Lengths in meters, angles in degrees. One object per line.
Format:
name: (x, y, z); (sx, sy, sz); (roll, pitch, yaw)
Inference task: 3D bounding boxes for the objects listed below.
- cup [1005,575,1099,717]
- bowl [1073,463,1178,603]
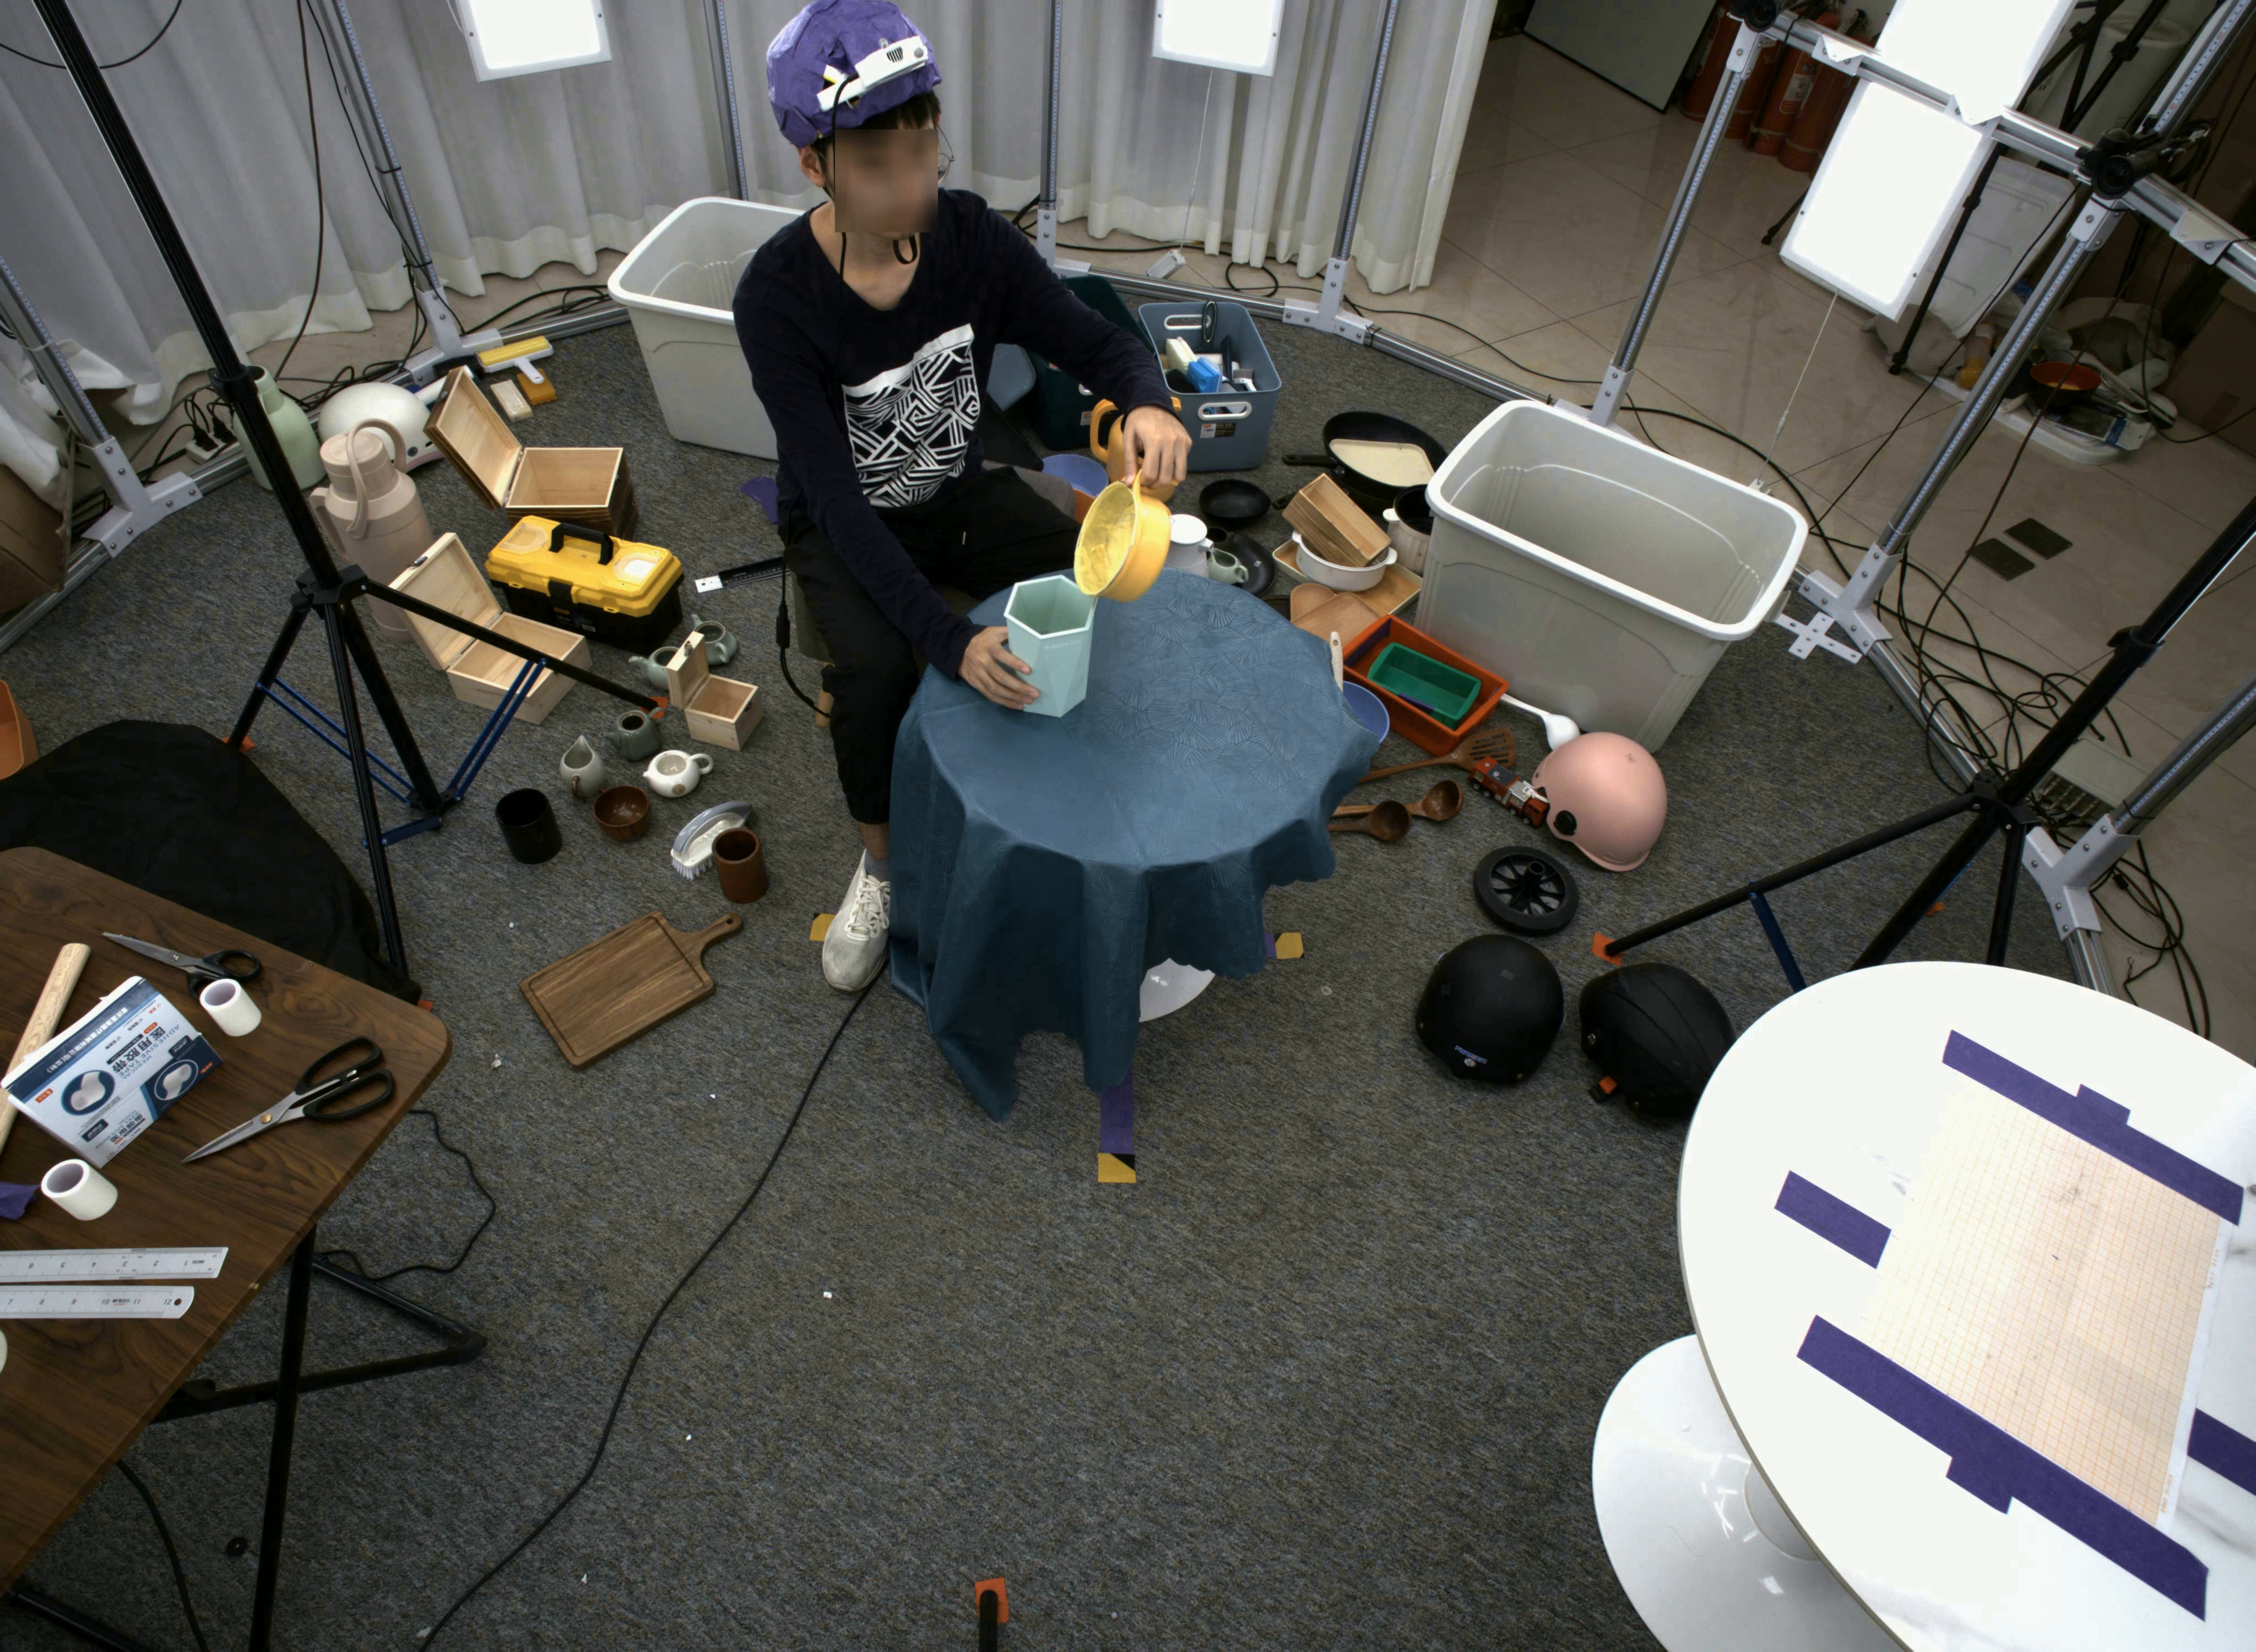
cup: (-0.105, -0.242, 1.766); (0.131, 0.159, 0.118); (-13, 50, -16)
bowl: (0.000, -0.377, 1.671); (0.073, 0.177, 0.156); (14, 16, -26)
